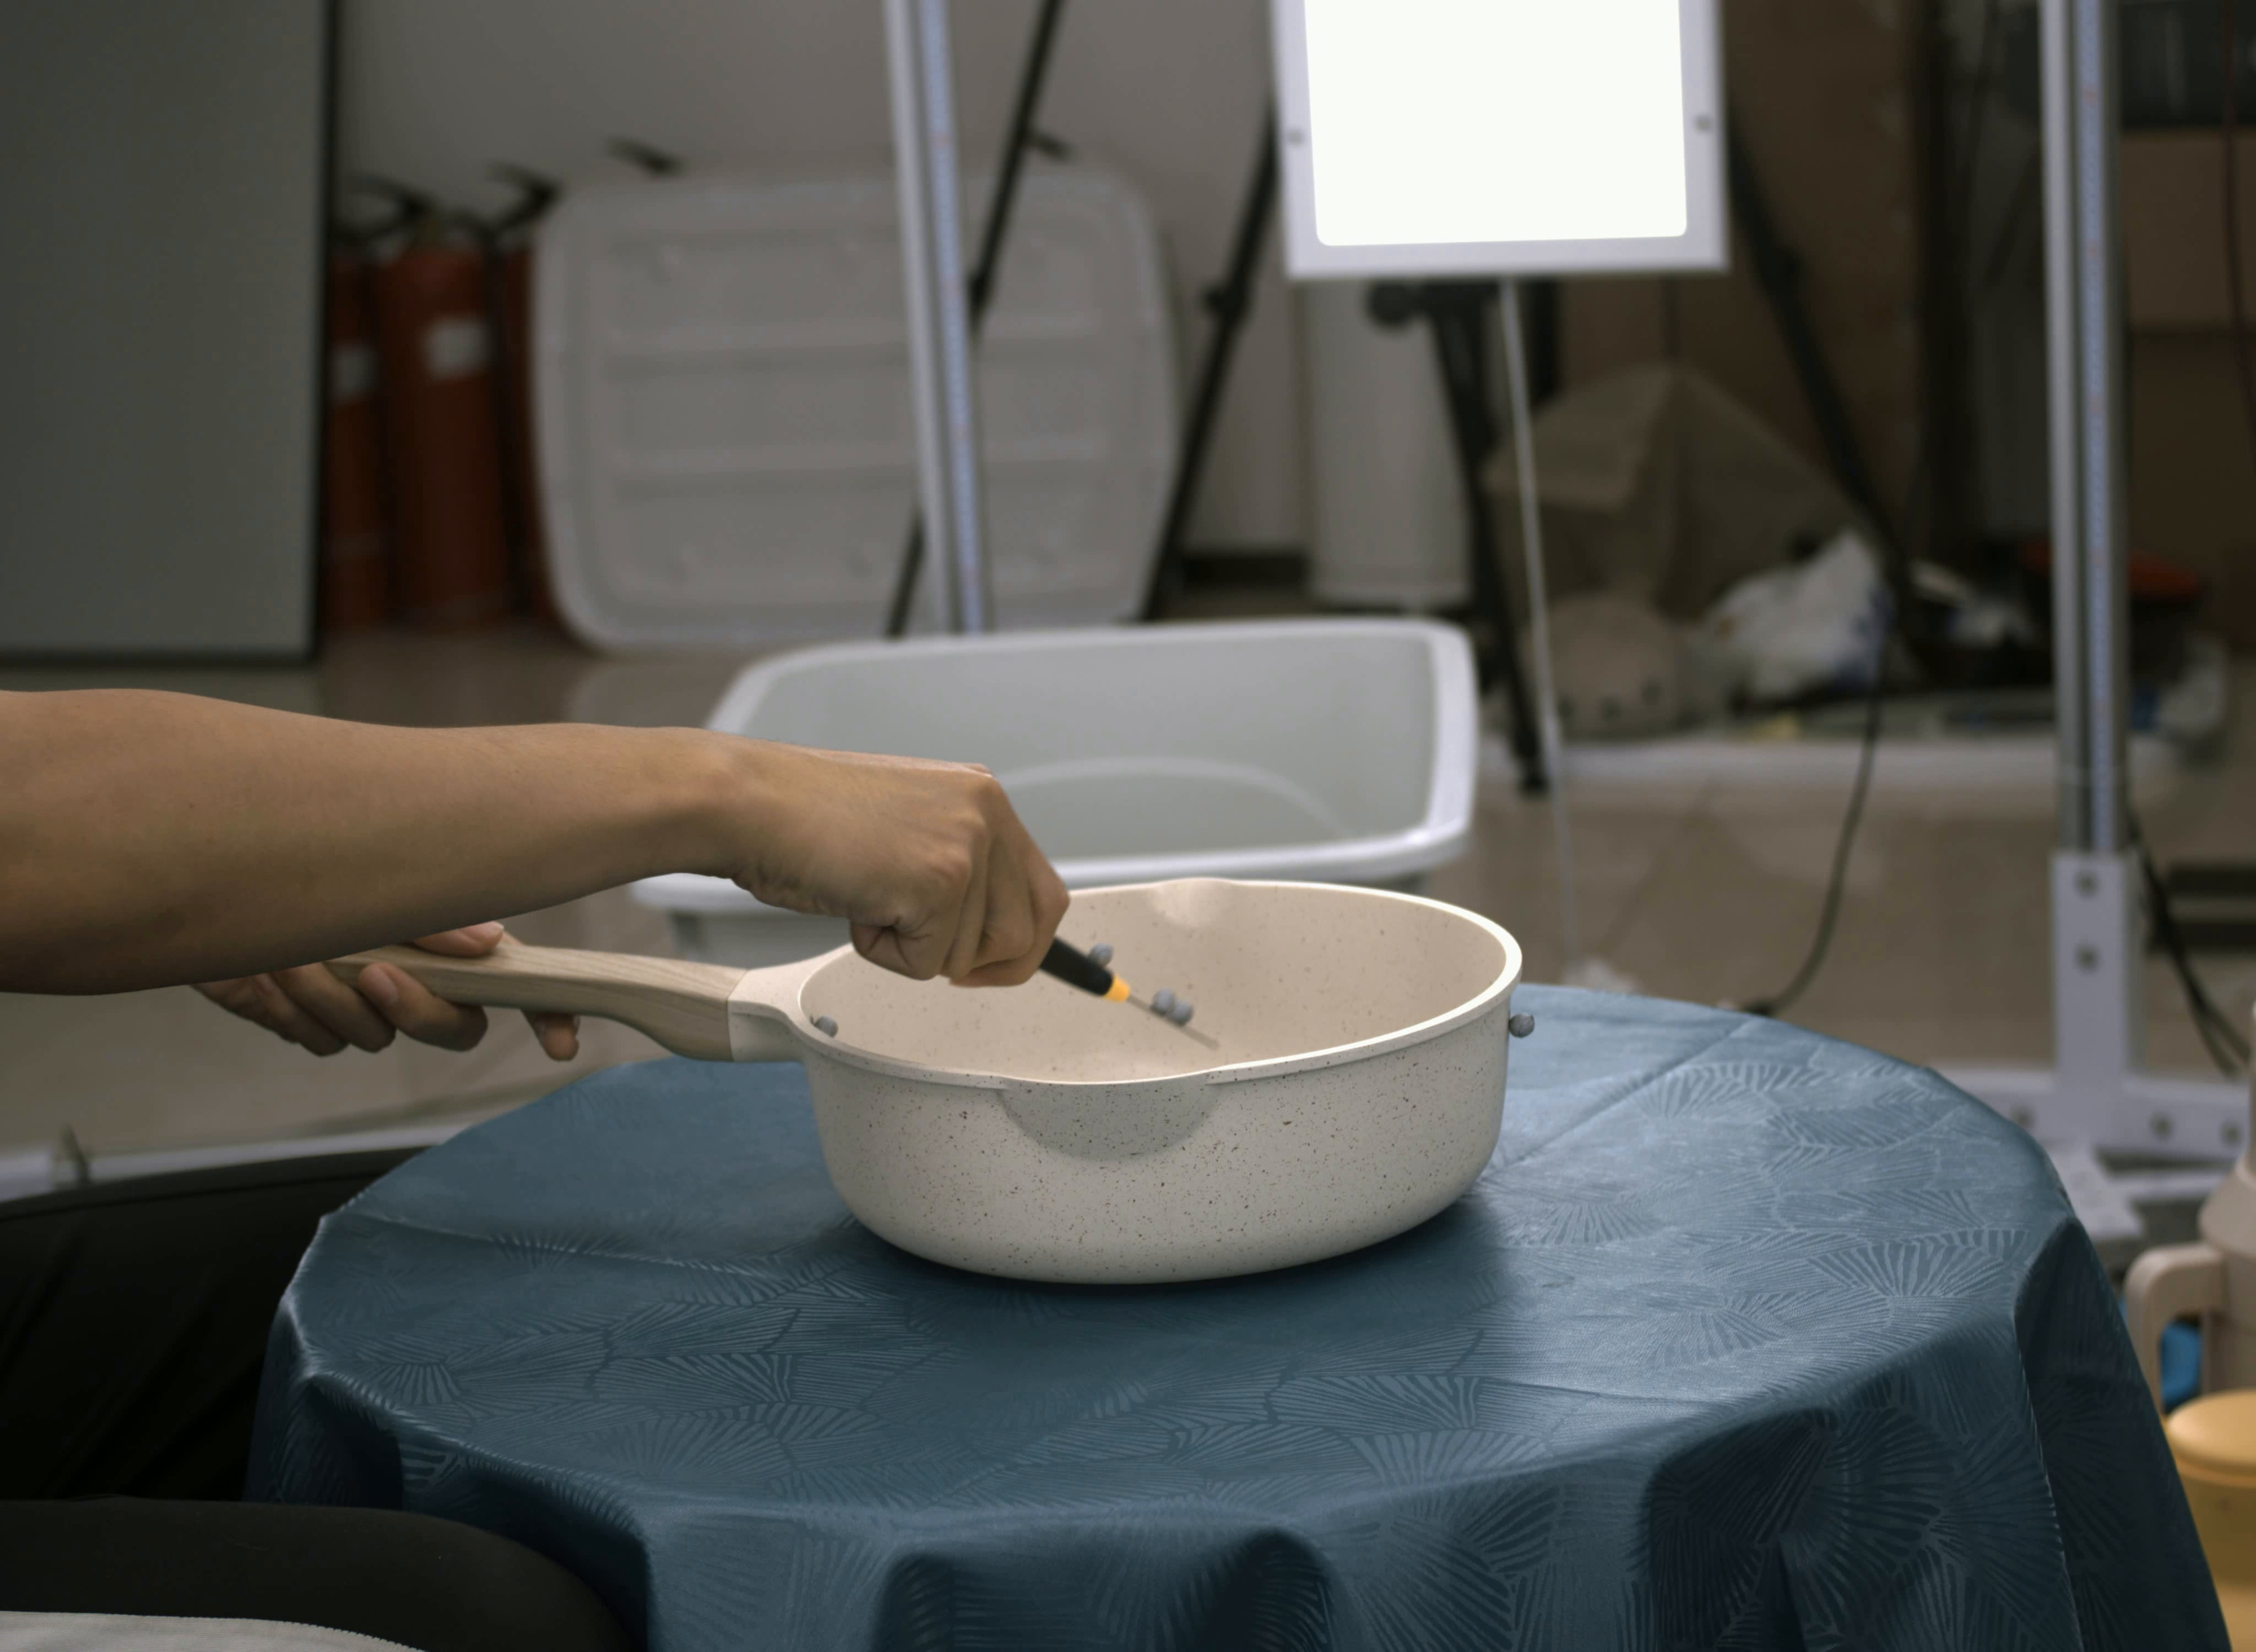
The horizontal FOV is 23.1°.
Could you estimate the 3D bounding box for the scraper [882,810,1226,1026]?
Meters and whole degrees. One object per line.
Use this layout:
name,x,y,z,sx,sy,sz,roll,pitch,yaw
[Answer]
scraper,-0.025,0.032,1.852,0.167,0.015,0.039,32,3,-45

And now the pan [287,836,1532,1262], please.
pan,-0.074,0.076,1.910,0.437,0.102,0.261,-3,16,10
